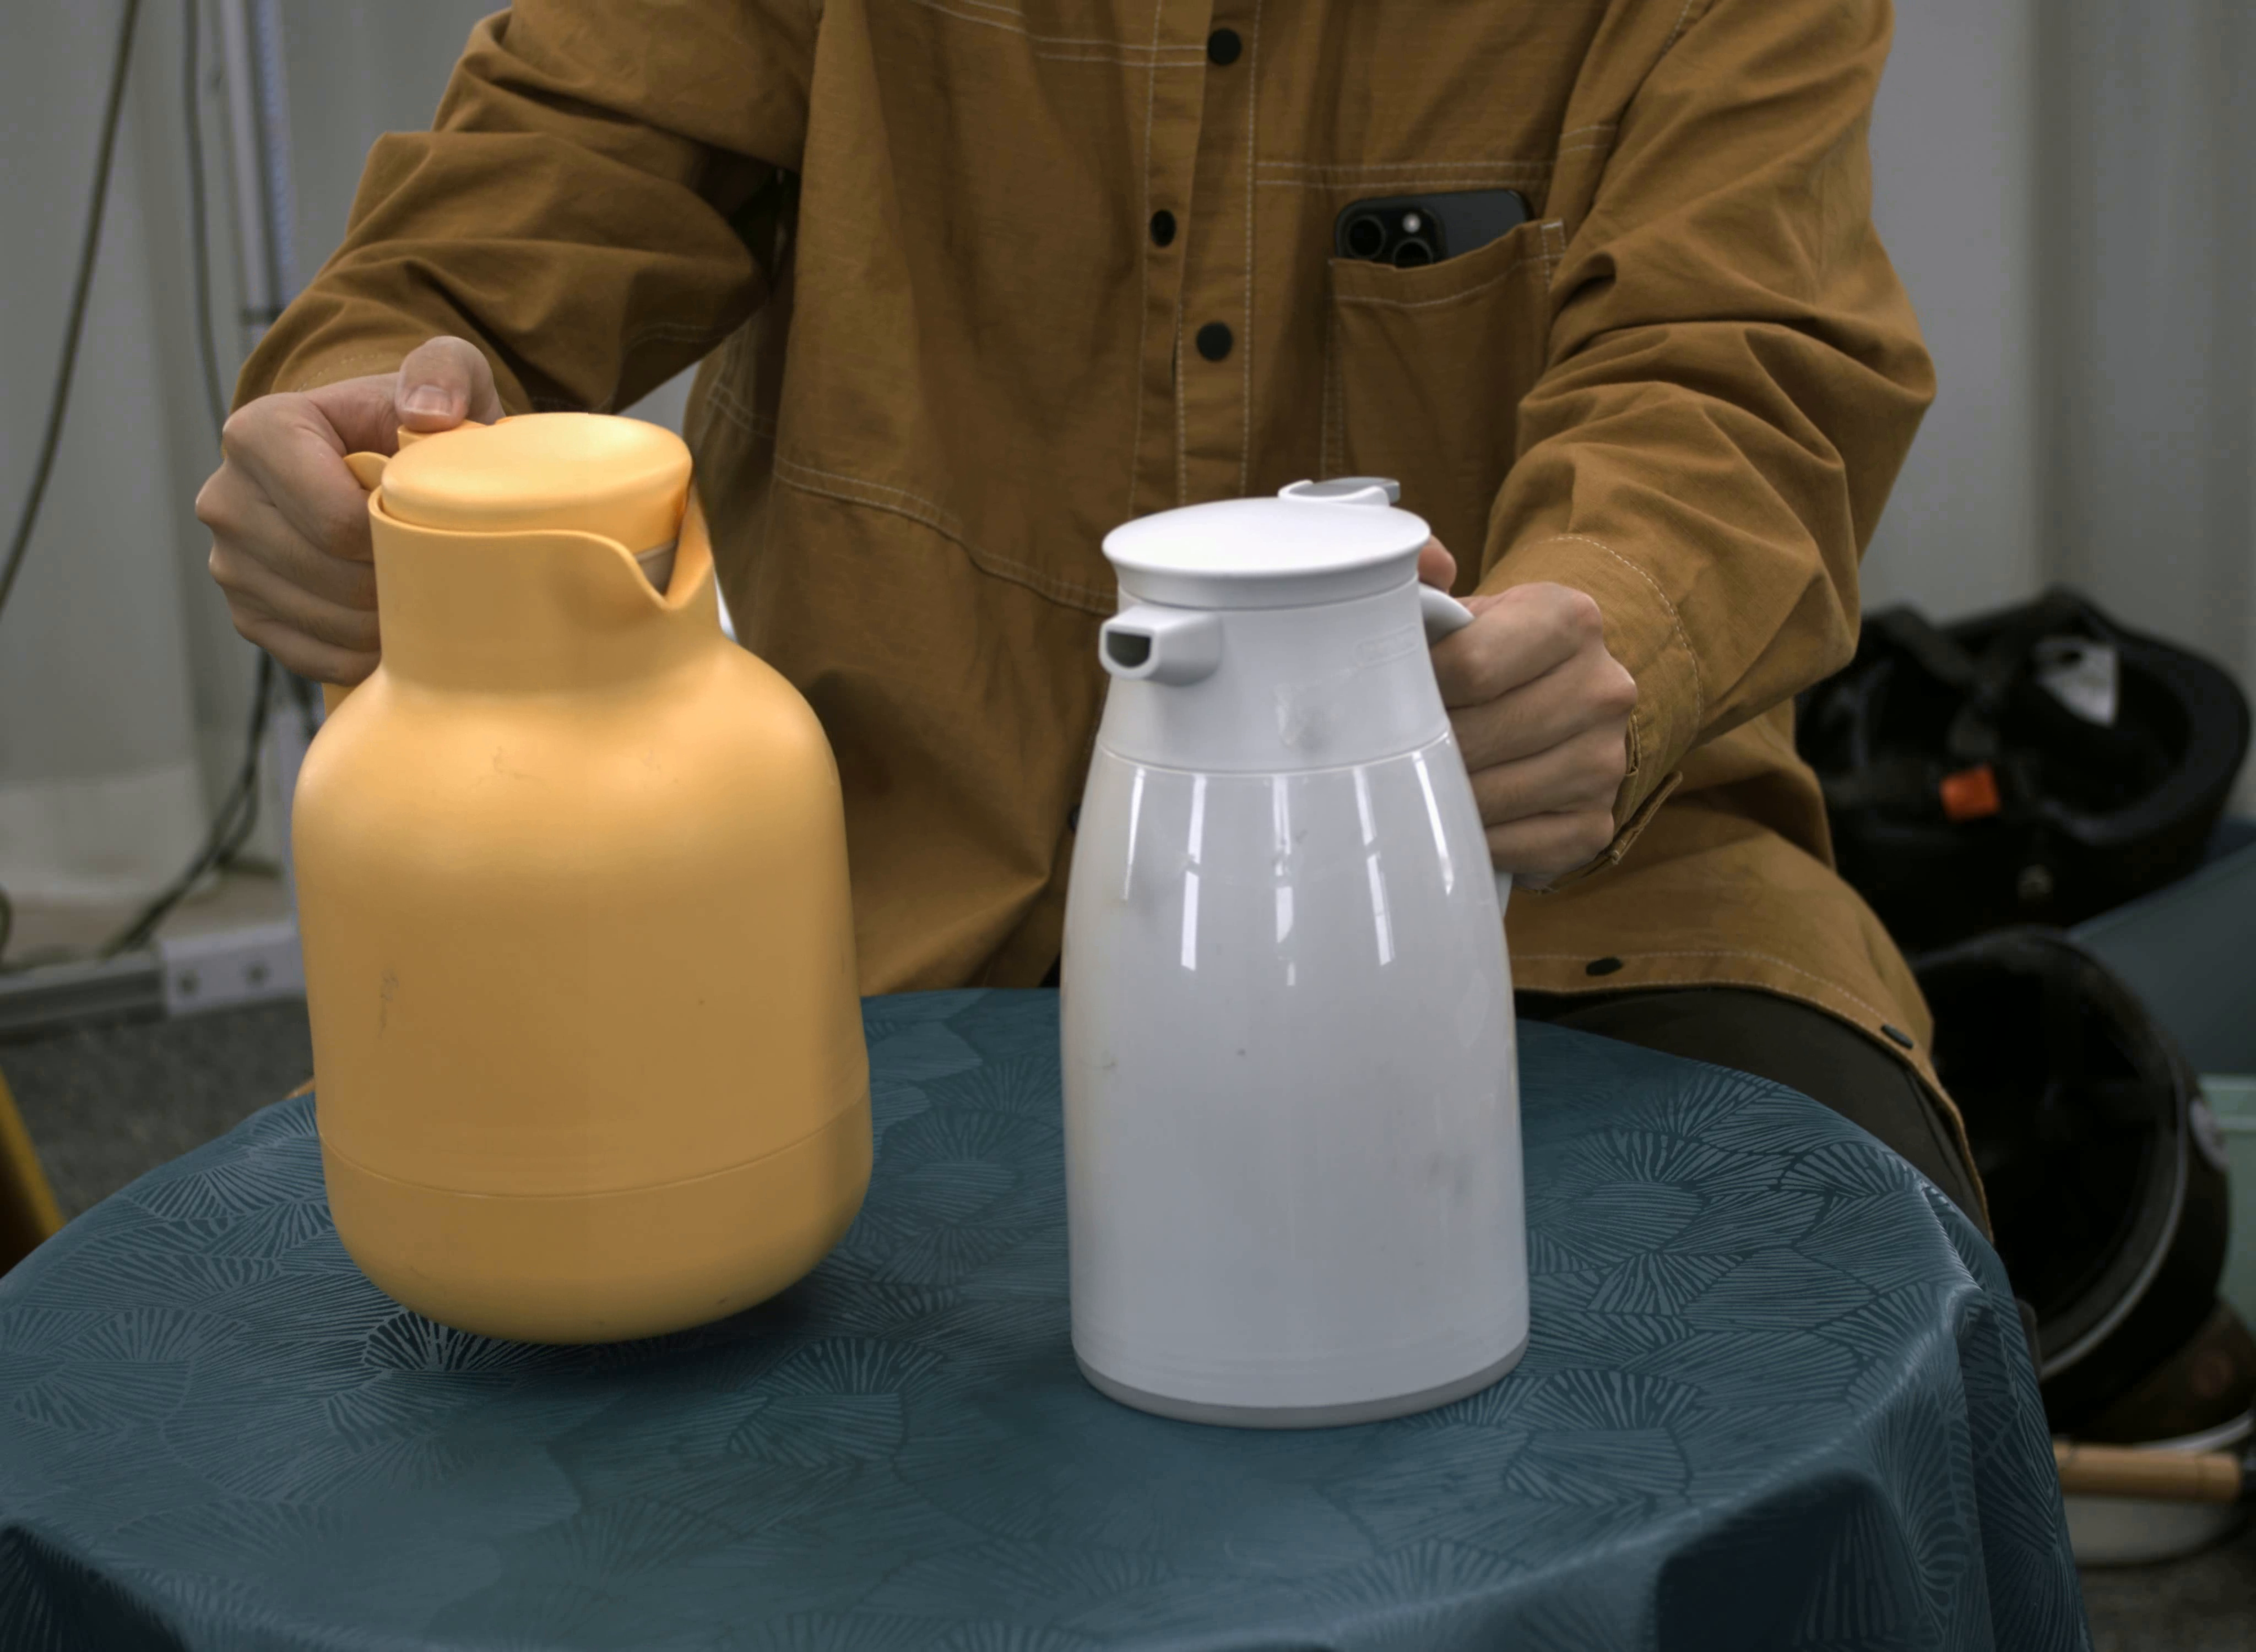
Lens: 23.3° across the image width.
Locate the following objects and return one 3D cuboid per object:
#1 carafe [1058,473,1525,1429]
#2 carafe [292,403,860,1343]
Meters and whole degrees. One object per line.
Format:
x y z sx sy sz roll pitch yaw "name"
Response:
0.054 0.026 1.558 0.133 0.248 0.167 8 17 38 "carafe"
-0.172 0.004 1.613 0.163 0.259 0.204 -12 22 -32 "carafe"
